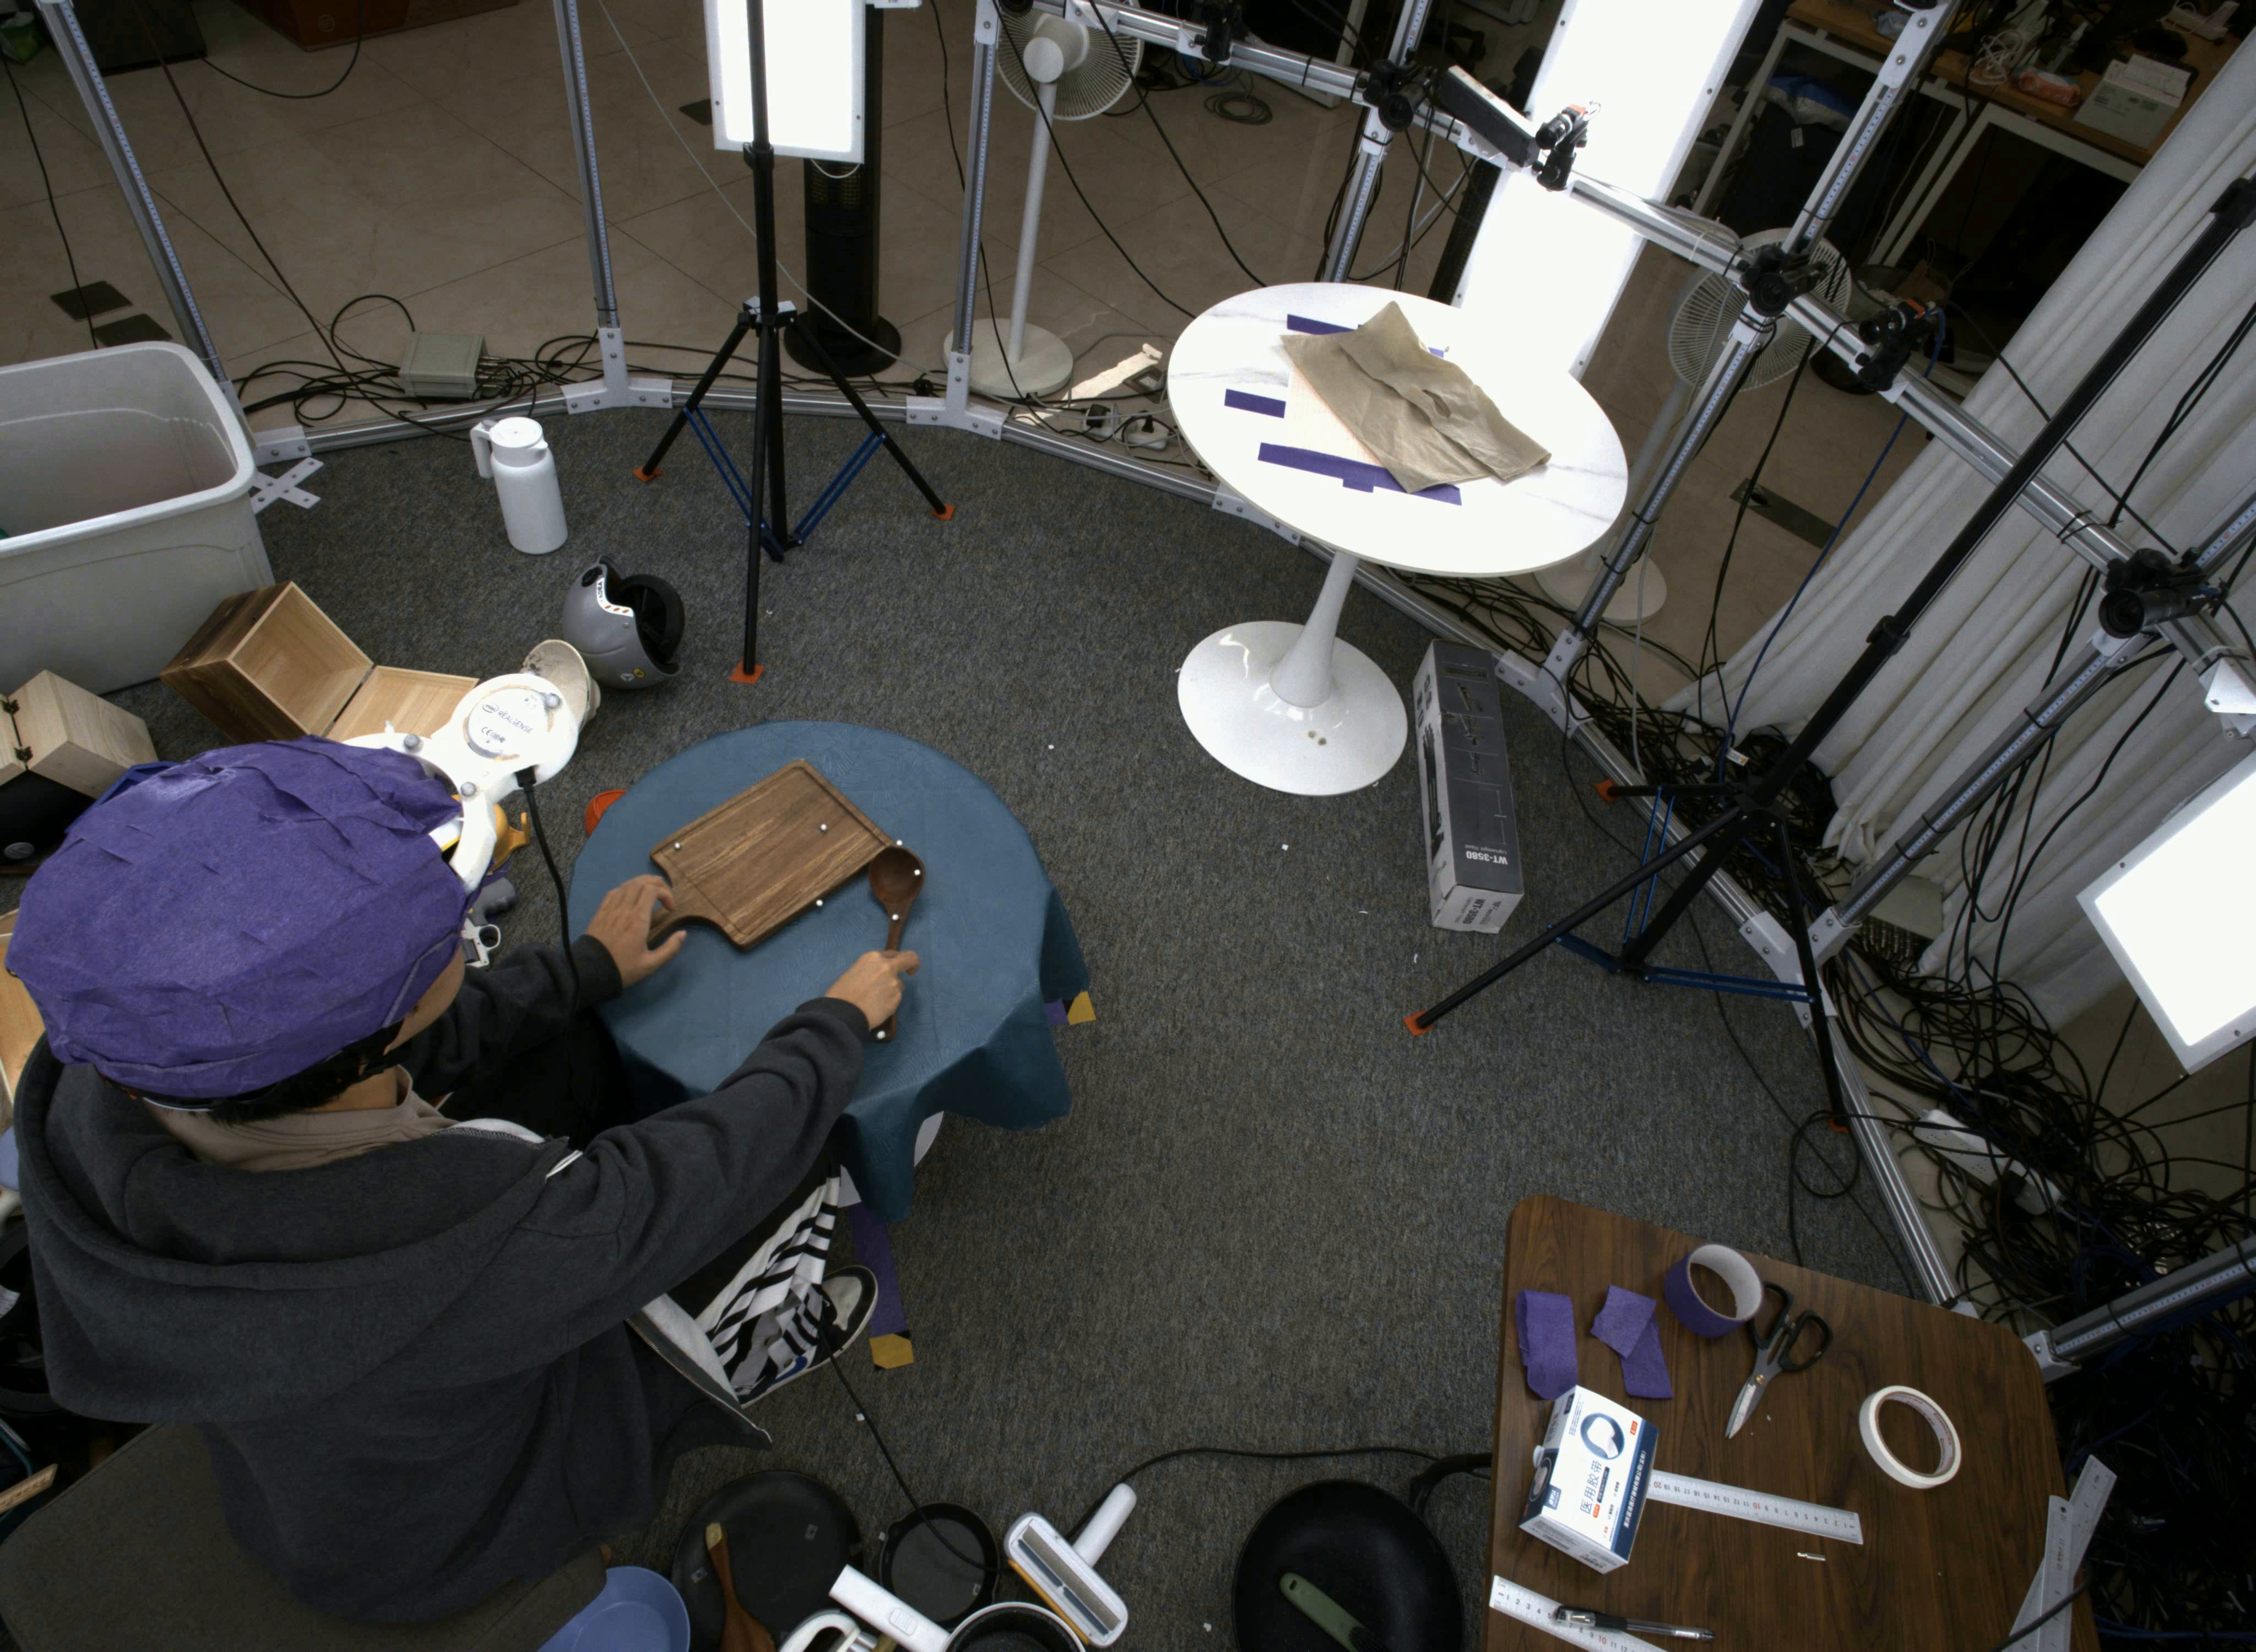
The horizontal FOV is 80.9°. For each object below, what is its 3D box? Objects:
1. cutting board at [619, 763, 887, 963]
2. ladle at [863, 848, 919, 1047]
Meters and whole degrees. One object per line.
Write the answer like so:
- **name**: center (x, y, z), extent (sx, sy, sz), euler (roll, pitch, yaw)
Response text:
- **cutting board**: center (-0.501, 0.061, 1.649), extent (0.196, 0.024, 0.353), euler (39, 54, 17)
- **ladle**: center (-0.304, 0.143, 1.612), extent (0.075, 0.067, 0.255), euler (-11, 52, 15)
